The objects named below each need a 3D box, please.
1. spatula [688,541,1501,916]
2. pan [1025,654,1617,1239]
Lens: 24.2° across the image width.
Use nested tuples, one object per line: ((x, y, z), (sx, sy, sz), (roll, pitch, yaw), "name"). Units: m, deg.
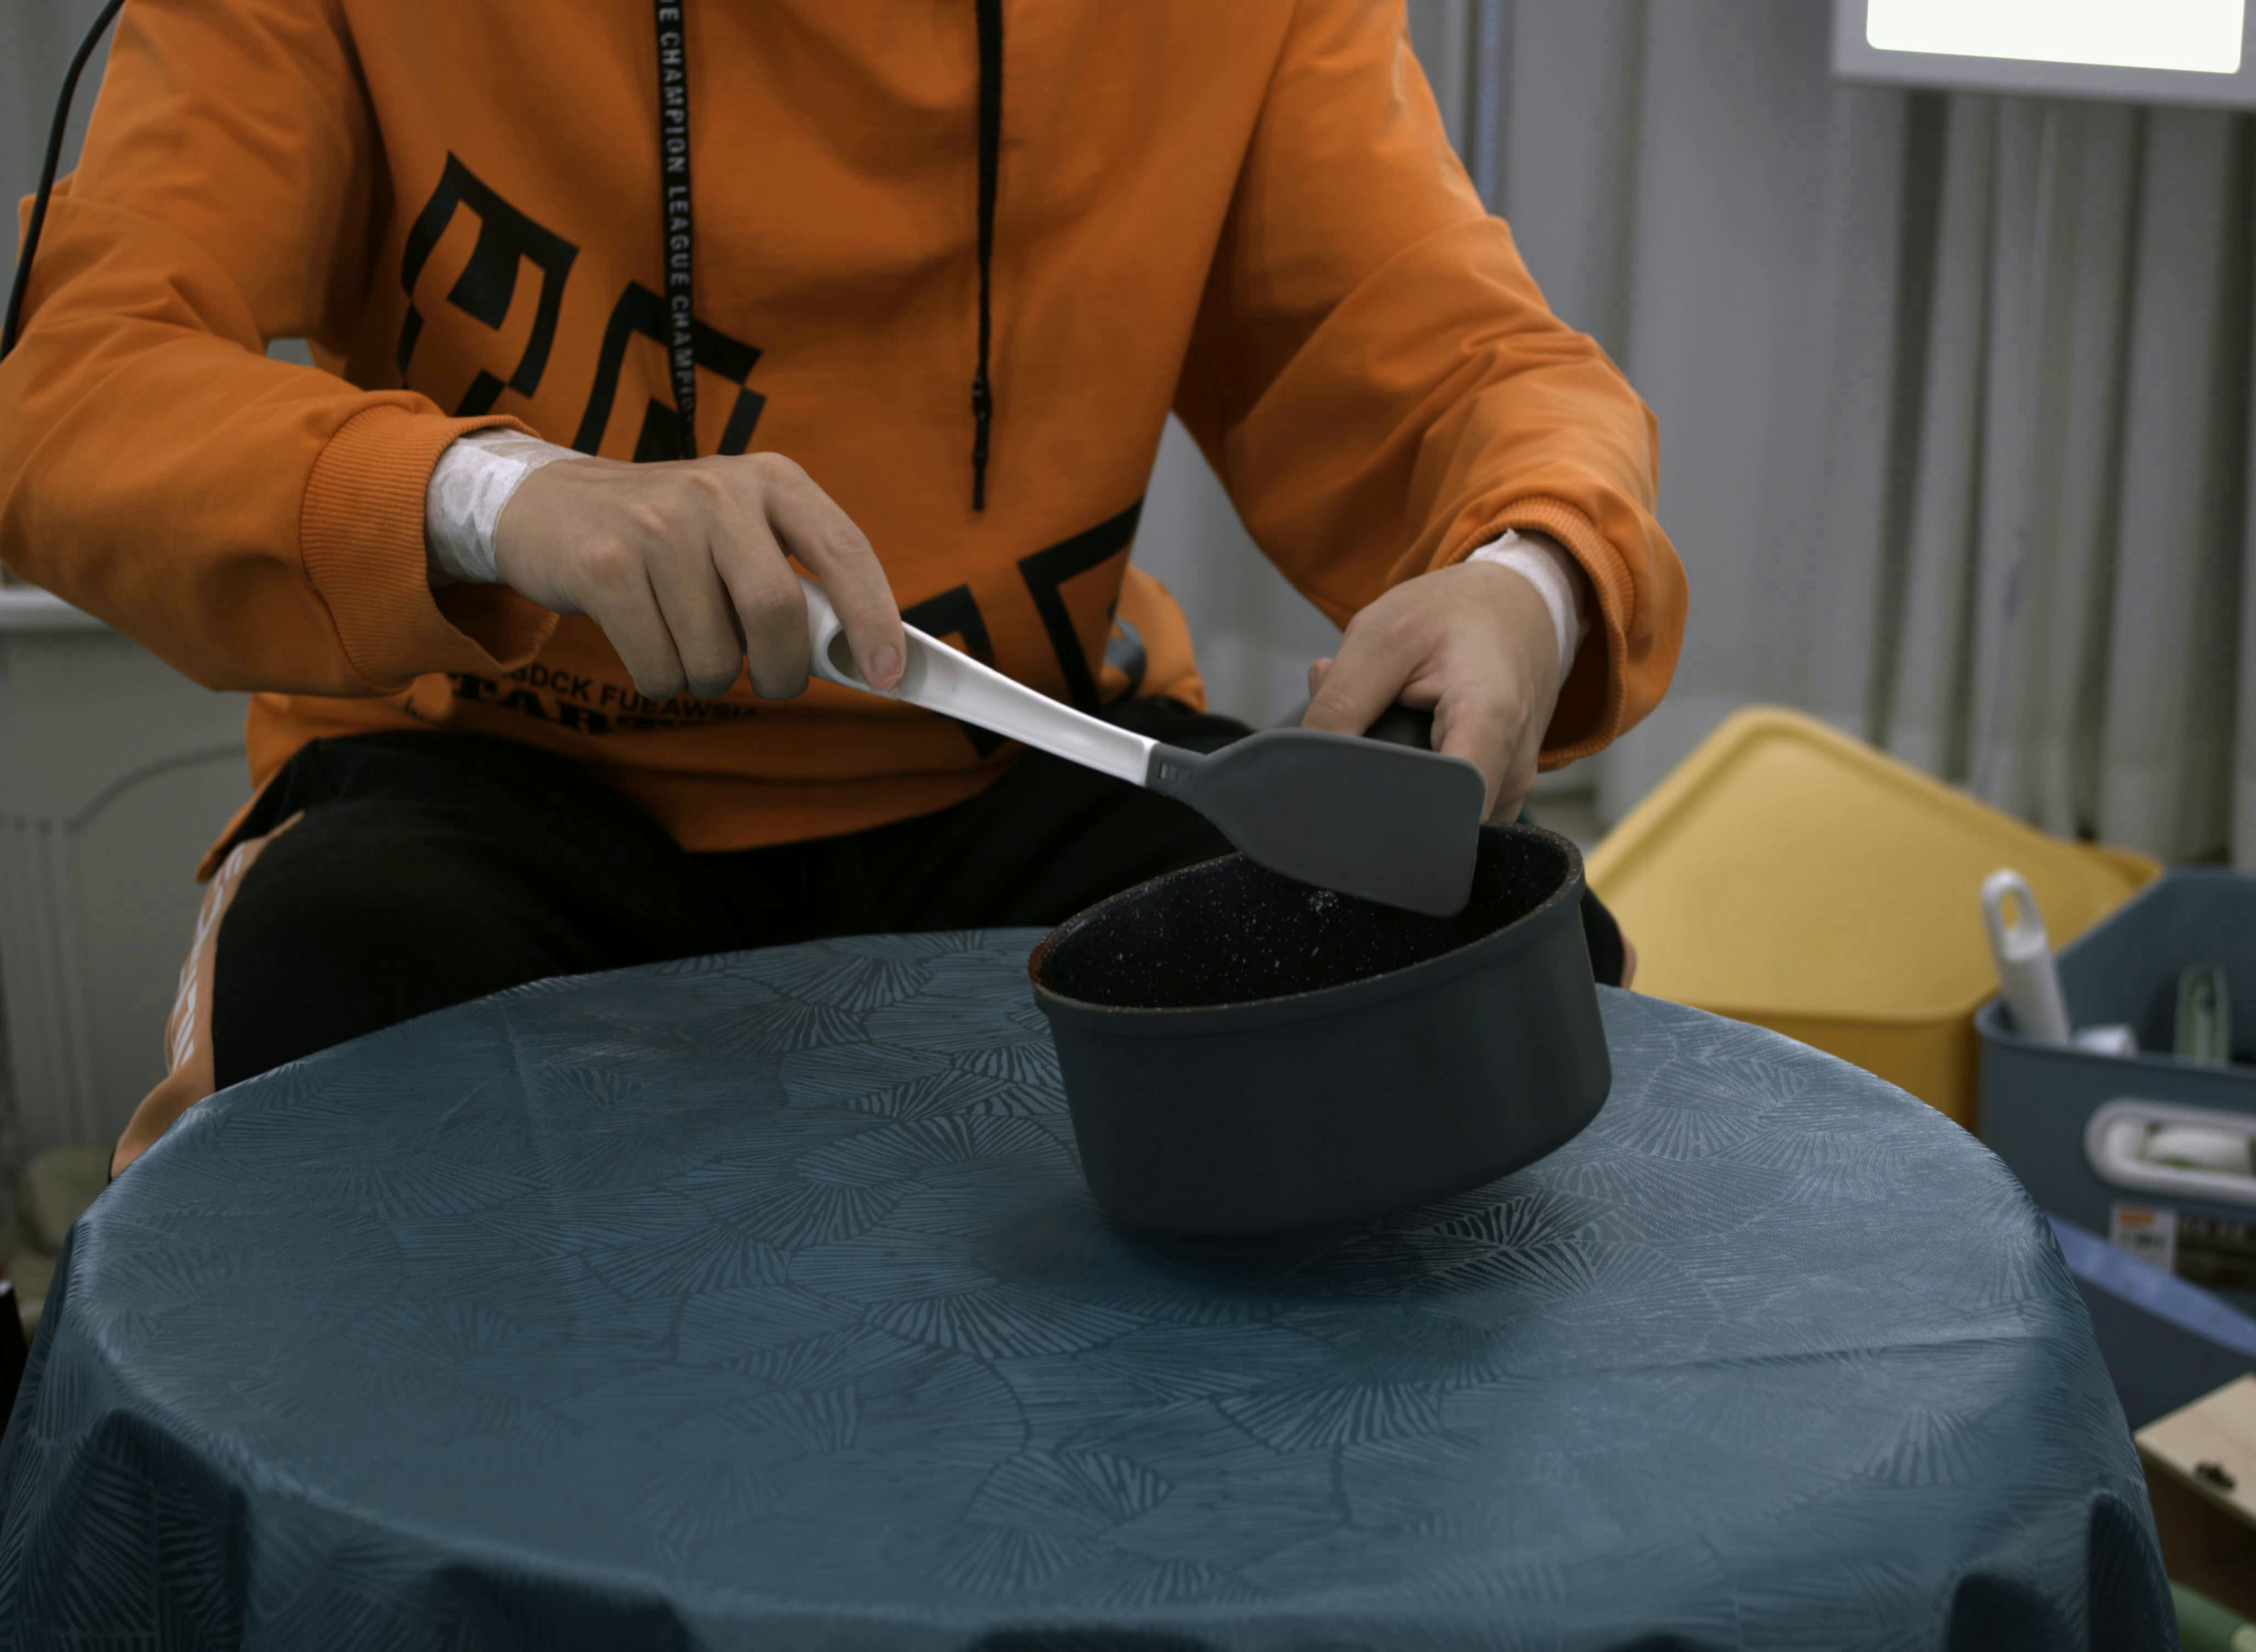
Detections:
((-0.014, -0.035, 1.660), (0.284, 0.059, 0.032), (19, 18, 25), "spatula")
((0.076, 0.034, 1.658), (0.171, 0.087, 0.328), (-7, 17, 15), "pan")
